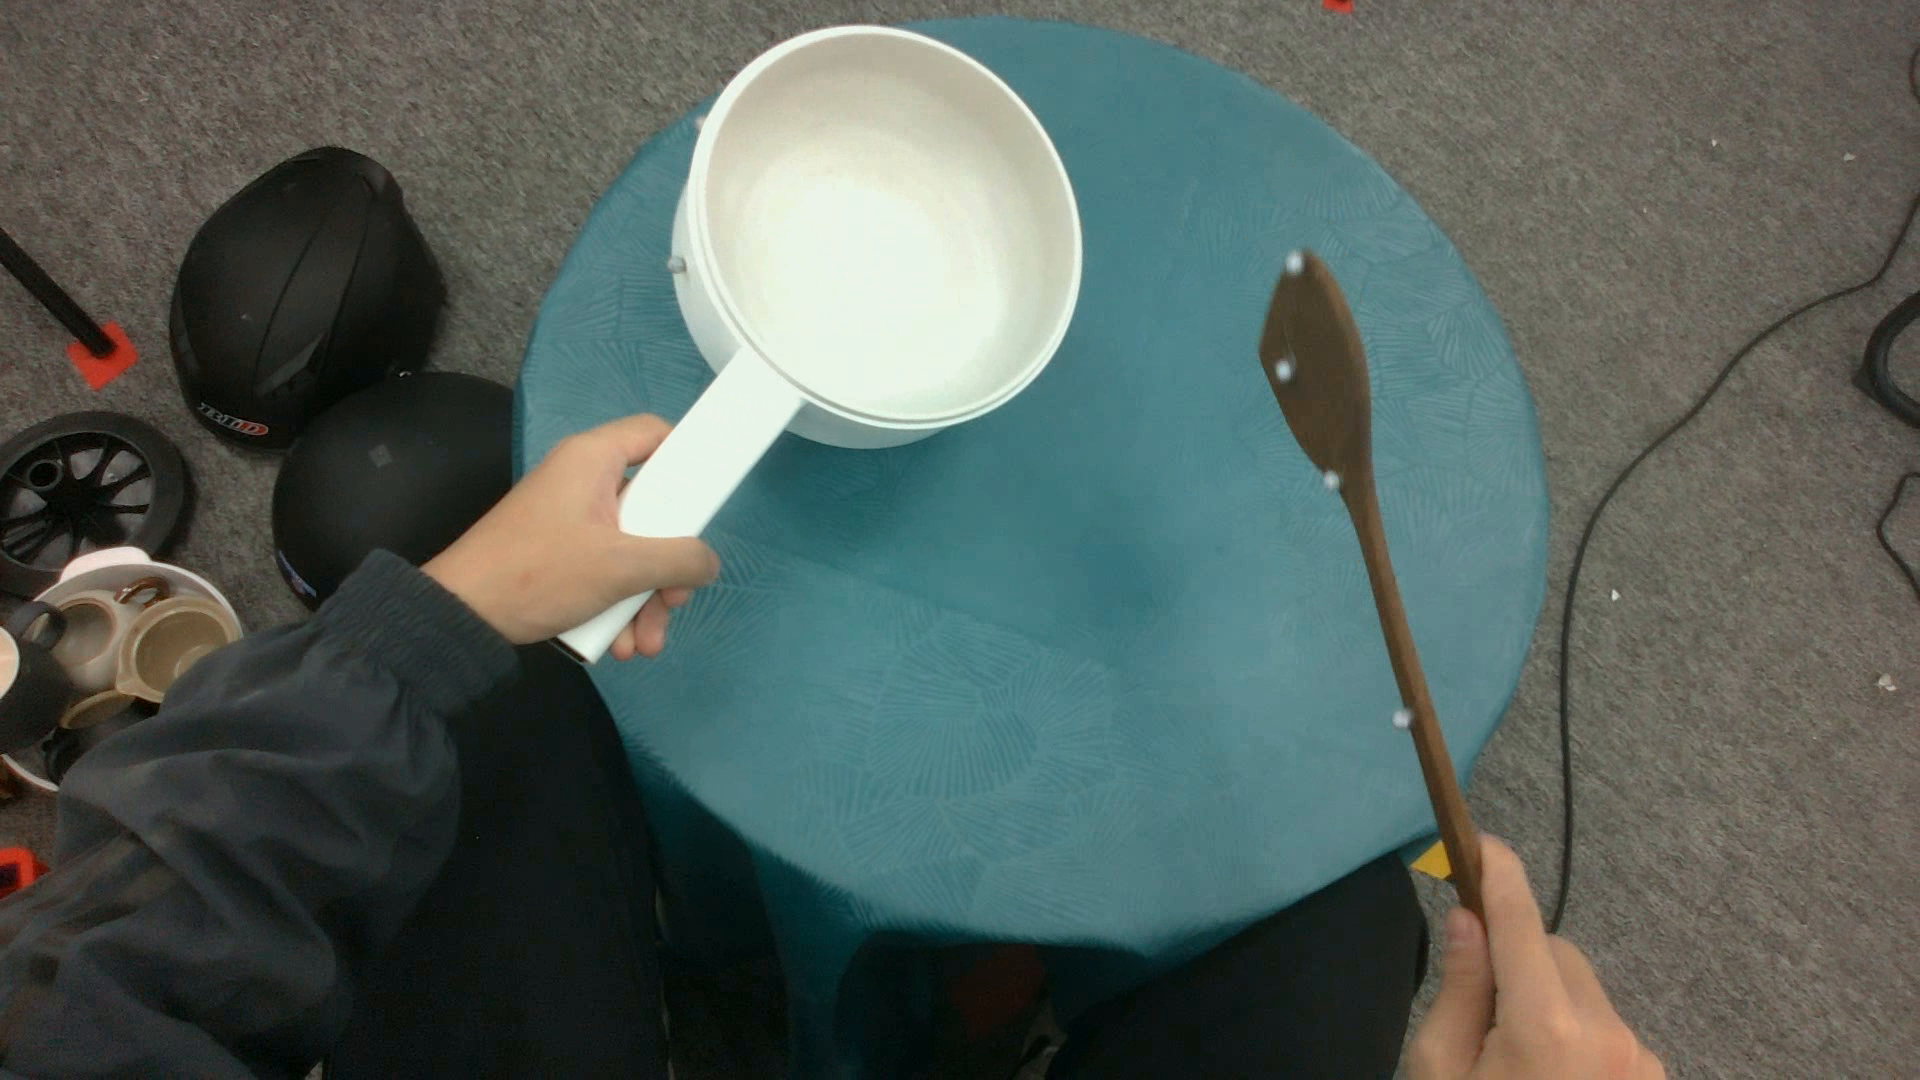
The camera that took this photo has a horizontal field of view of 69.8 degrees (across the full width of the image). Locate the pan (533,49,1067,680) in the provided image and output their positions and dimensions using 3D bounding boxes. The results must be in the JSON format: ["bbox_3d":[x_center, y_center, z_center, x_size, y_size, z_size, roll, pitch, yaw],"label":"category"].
[{"bbox_3d":[-0.093,-0.083,0.704,0.201,0.102,0.356,37,72,-12],"label":"pan"}]

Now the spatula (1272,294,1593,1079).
[{"bbox_3d":[0.205,0.059,0.623,0.016,0.096,0.387,-12,65,-1],"label":"spatula"}]
